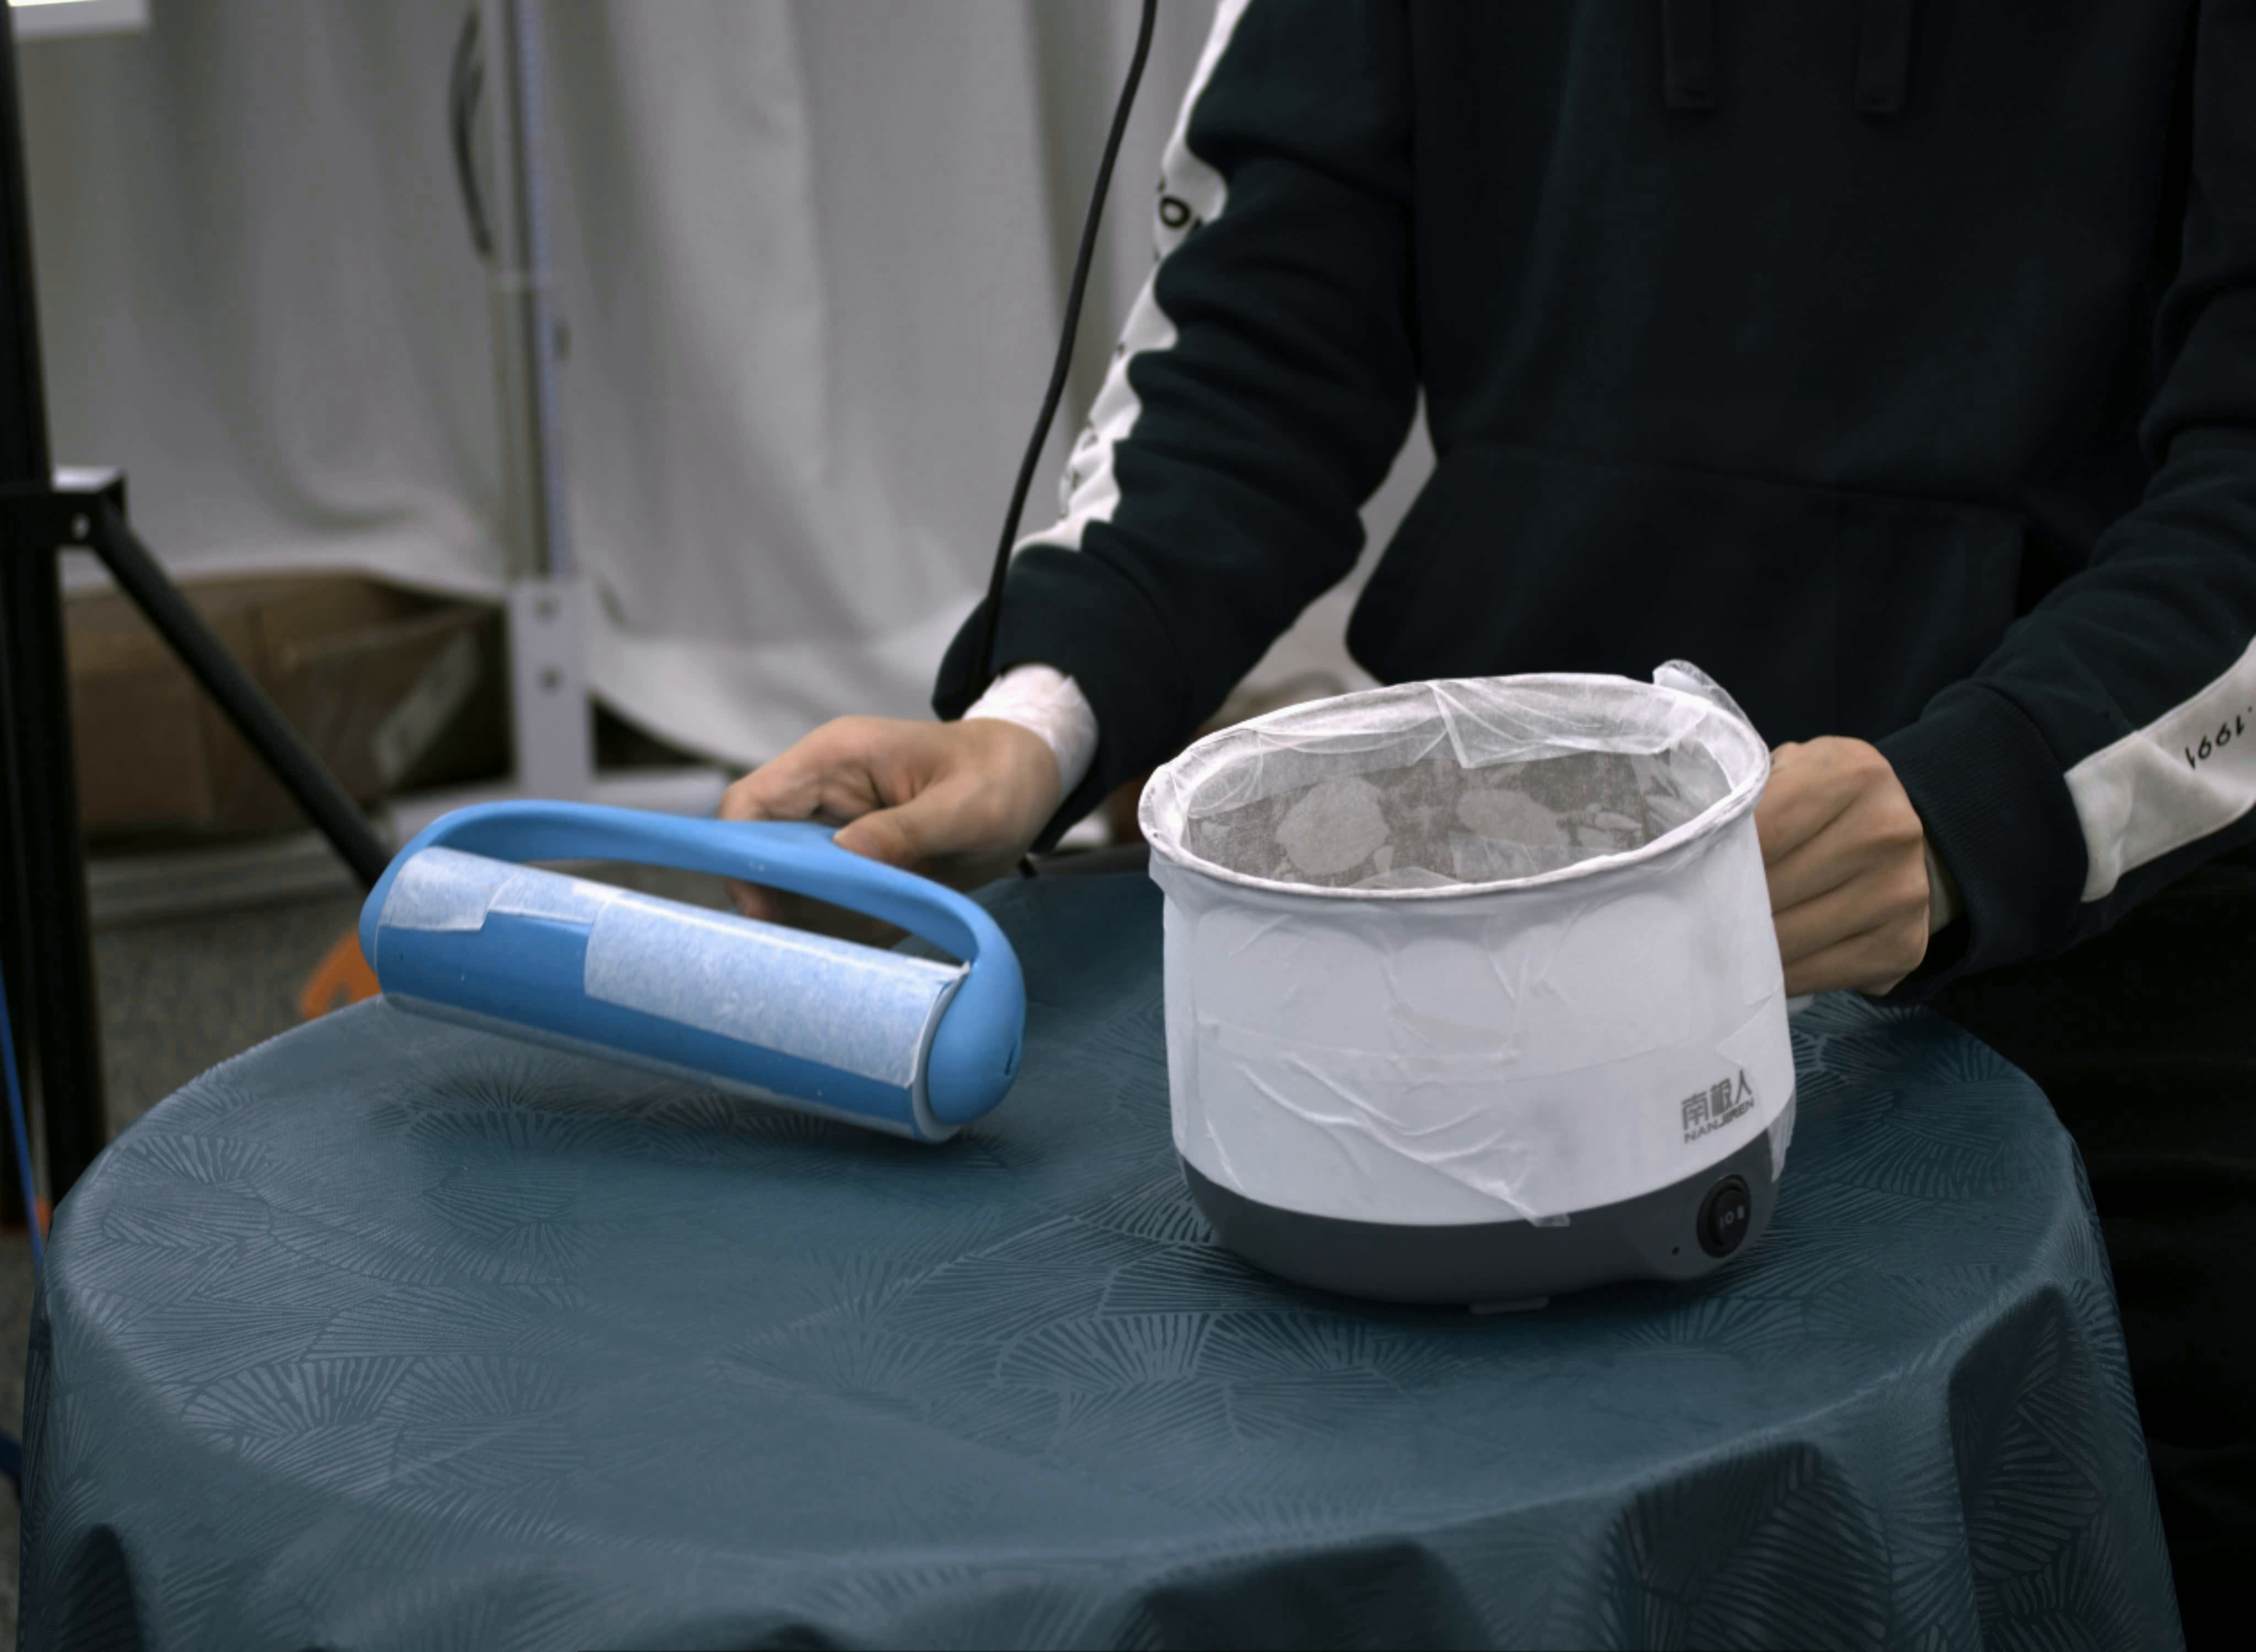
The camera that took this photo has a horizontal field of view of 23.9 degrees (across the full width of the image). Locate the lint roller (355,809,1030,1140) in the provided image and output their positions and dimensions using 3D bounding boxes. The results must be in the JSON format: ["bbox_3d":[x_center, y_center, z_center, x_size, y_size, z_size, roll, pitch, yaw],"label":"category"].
[{"bbox_3d":[-0.113,0.032,1.685,0.232,0.068,0.178,9,22,23],"label":"lint roller"}]

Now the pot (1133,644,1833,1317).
[{"bbox_3d":[0.115,0.036,1.505,0.183,0.136,0.229,13,29,43],"label":"pot"}]
